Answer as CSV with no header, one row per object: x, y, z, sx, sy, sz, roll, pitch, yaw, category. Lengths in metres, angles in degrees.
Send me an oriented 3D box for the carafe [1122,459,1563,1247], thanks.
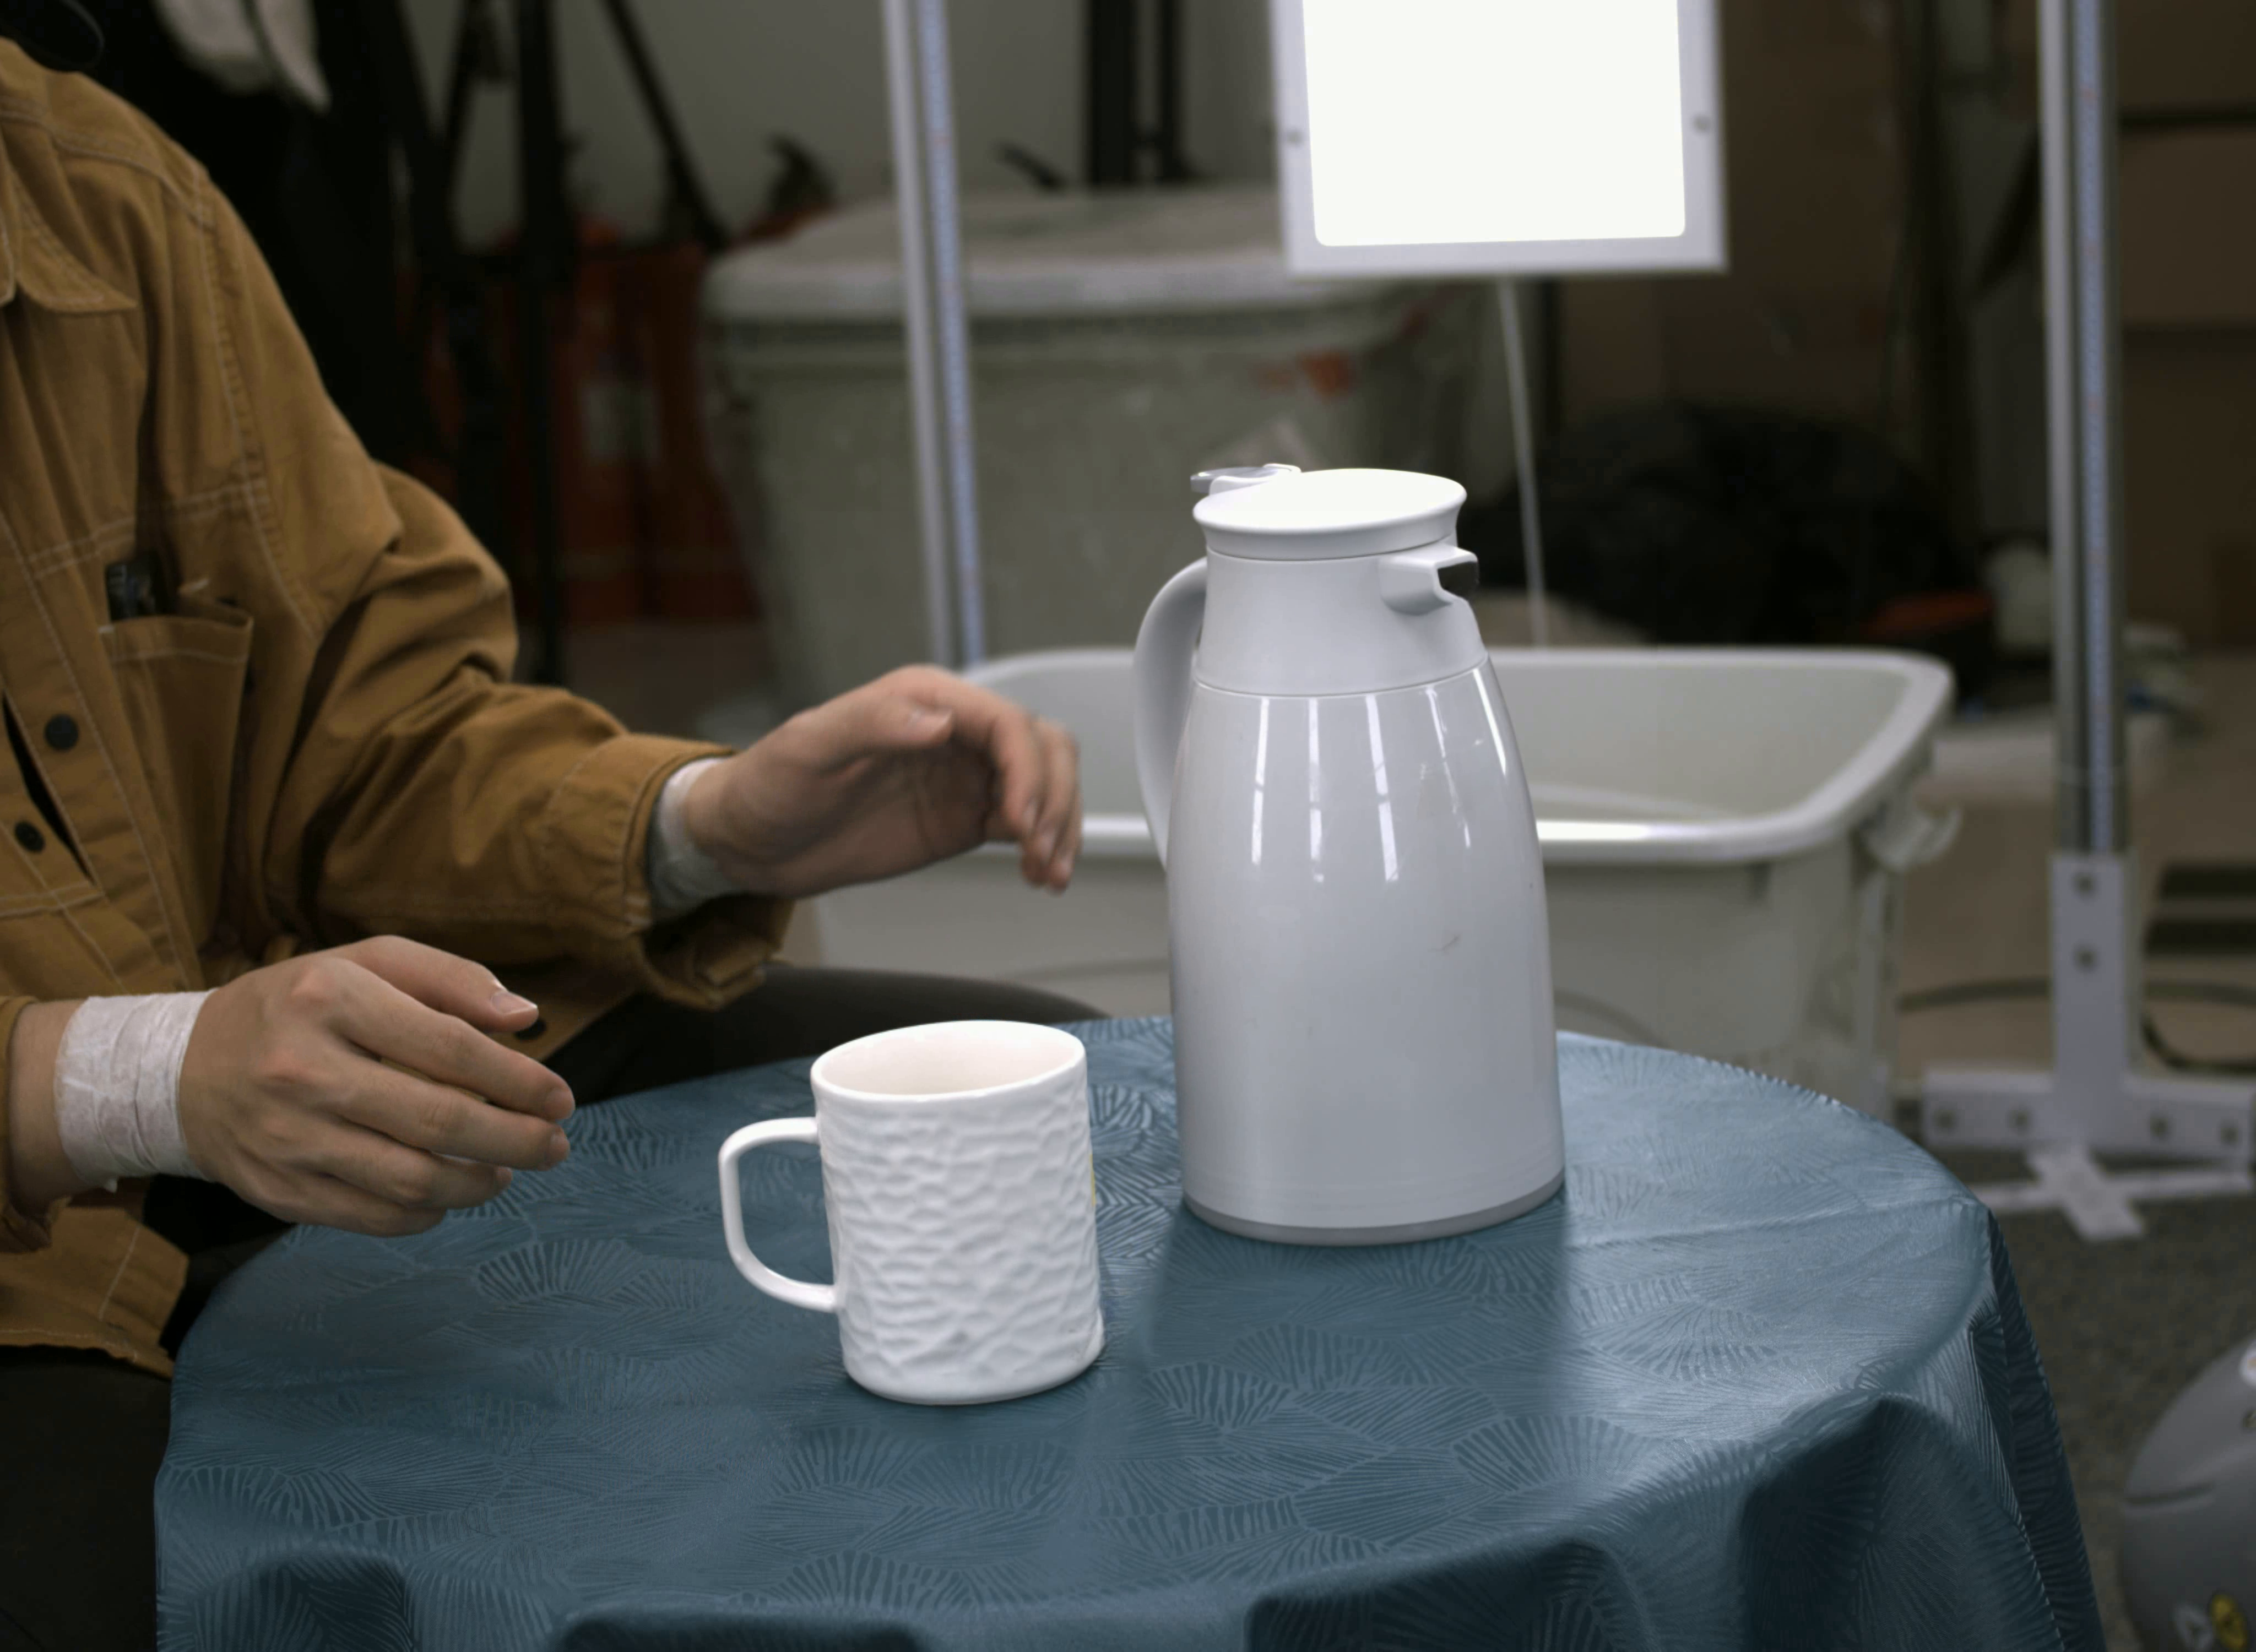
0.061,0.001,1.865,0.129,0.249,0.171,-16,18,-37,carafe

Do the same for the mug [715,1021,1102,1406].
-0.069,0.123,1.727,0.118,0.102,0.085,-5,13,0,mug
